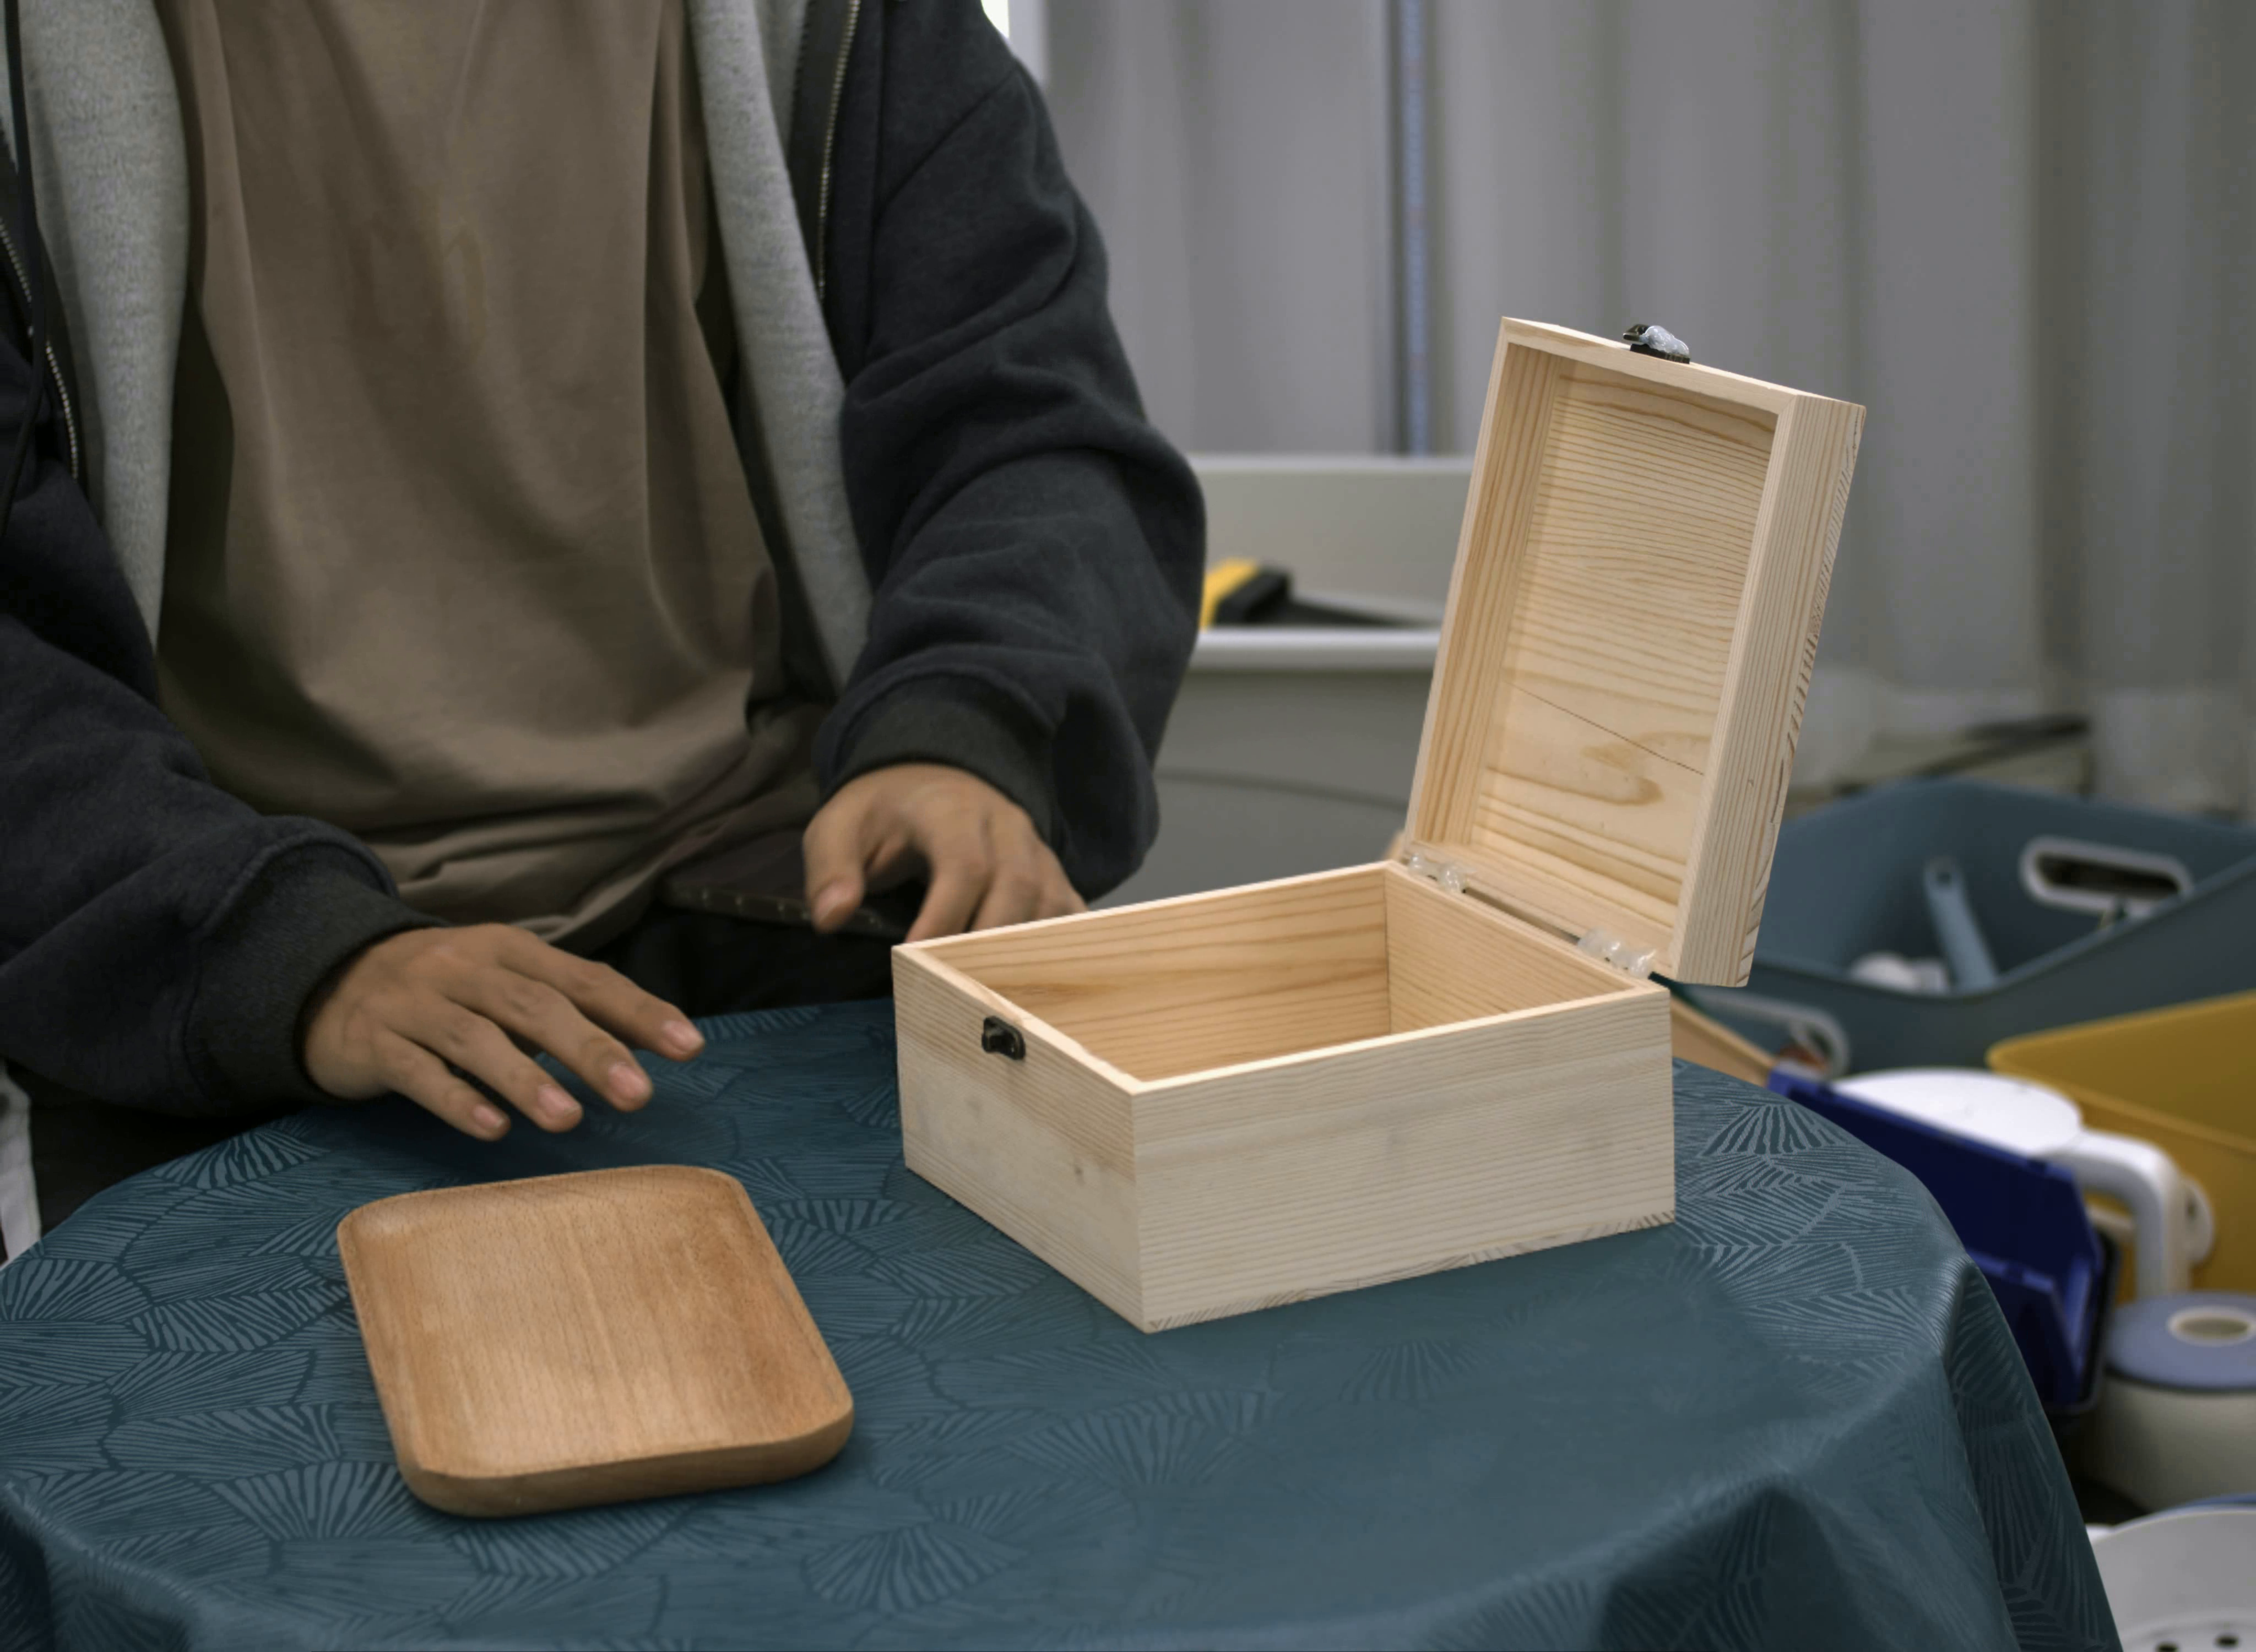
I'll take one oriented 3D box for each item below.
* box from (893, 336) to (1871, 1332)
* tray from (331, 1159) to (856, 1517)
[{"bbox_3d":[0.073,-0.008,1.692,0.264,0.252,0.183,-8,12,-24],"label":"box"},{"bbox_3d":[-0.160,0.146,1.594,0.130,0.023,0.252,-3,14,-12],"label":"tray"}]
